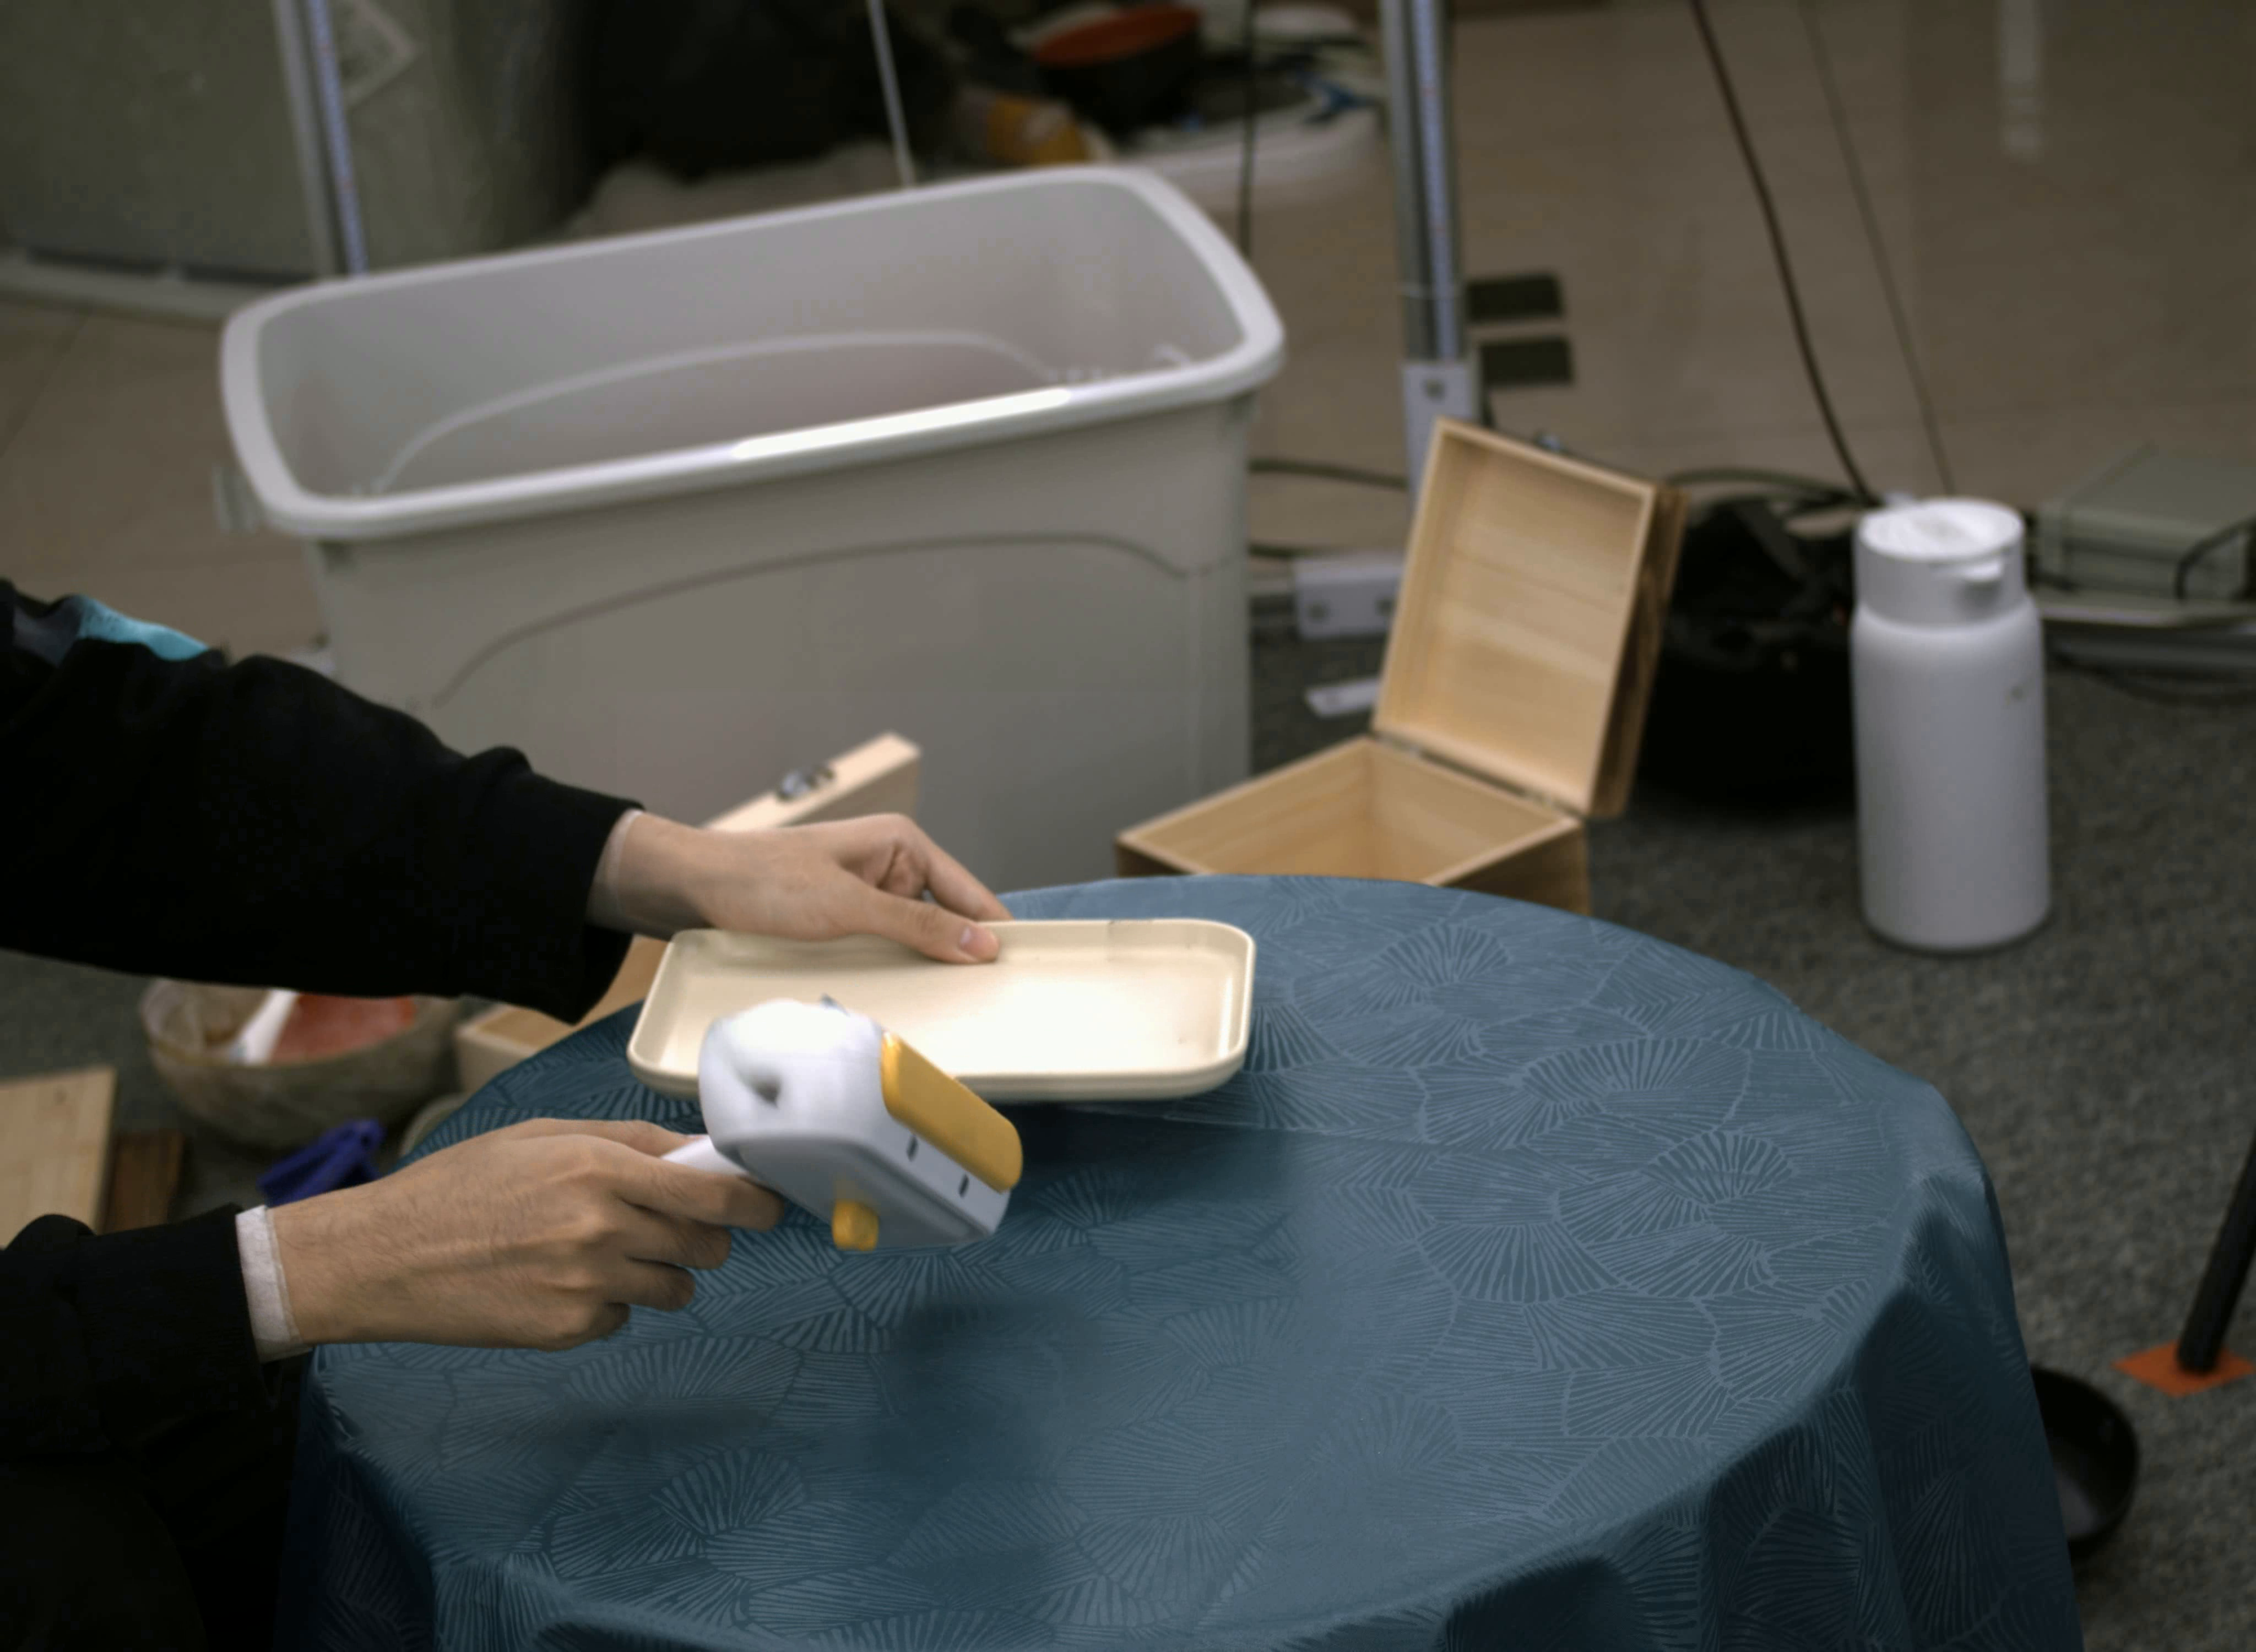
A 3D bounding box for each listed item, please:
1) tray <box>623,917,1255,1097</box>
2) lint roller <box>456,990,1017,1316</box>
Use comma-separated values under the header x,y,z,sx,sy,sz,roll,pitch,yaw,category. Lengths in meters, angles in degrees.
x,y,z,sx,sy,sz,roll,pitch,yaw,category
-0.071,0.072,2.211,0.239,0.018,0.169,0,19,4,tray
-0.151,0.123,2.000,0.192,0.073,0.194,-15,-17,17,lint roller
